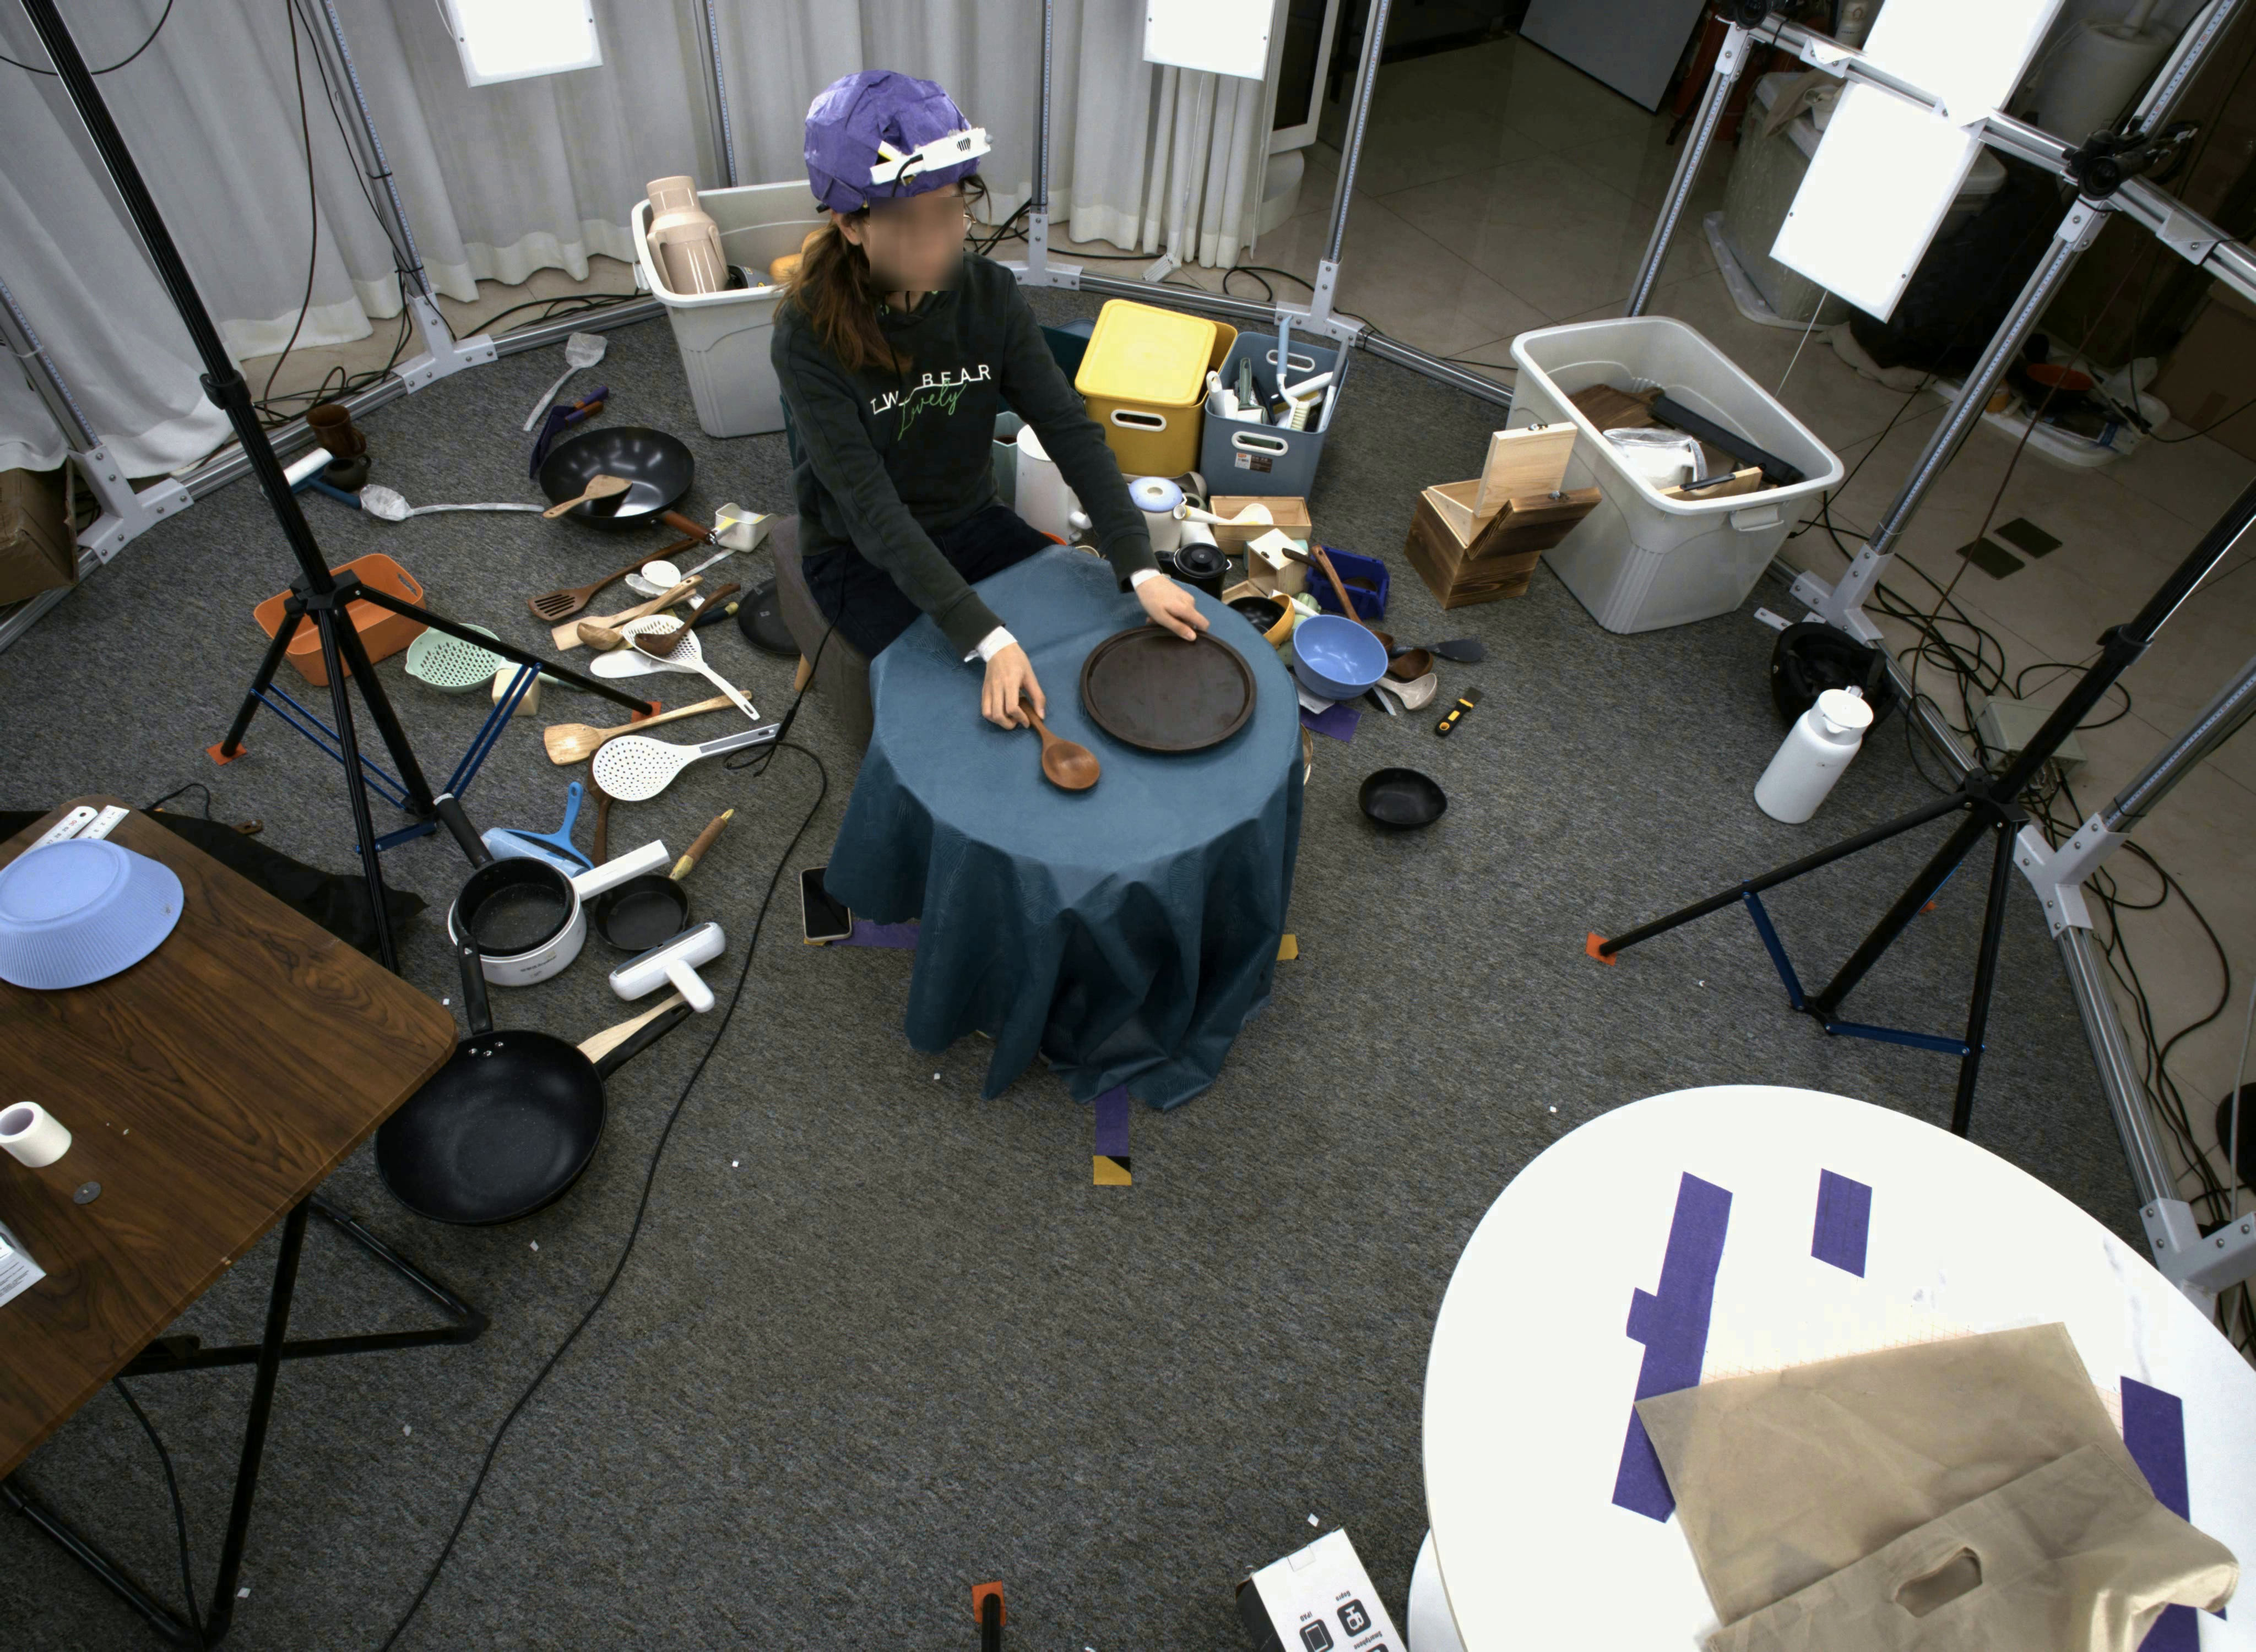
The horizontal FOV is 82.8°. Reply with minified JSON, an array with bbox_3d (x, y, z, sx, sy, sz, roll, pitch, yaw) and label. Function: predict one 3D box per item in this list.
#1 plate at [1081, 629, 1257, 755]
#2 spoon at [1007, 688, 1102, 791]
[{"bbox_3d":[0.059,-0.194,1.841,0.254,0.028,0.261,2,49,-2],"label":"plate"},{"bbox_3d":[-0.109,-0.121,1.771,0.076,0.017,0.220,-23,54,-22],"label":"spoon"}]
